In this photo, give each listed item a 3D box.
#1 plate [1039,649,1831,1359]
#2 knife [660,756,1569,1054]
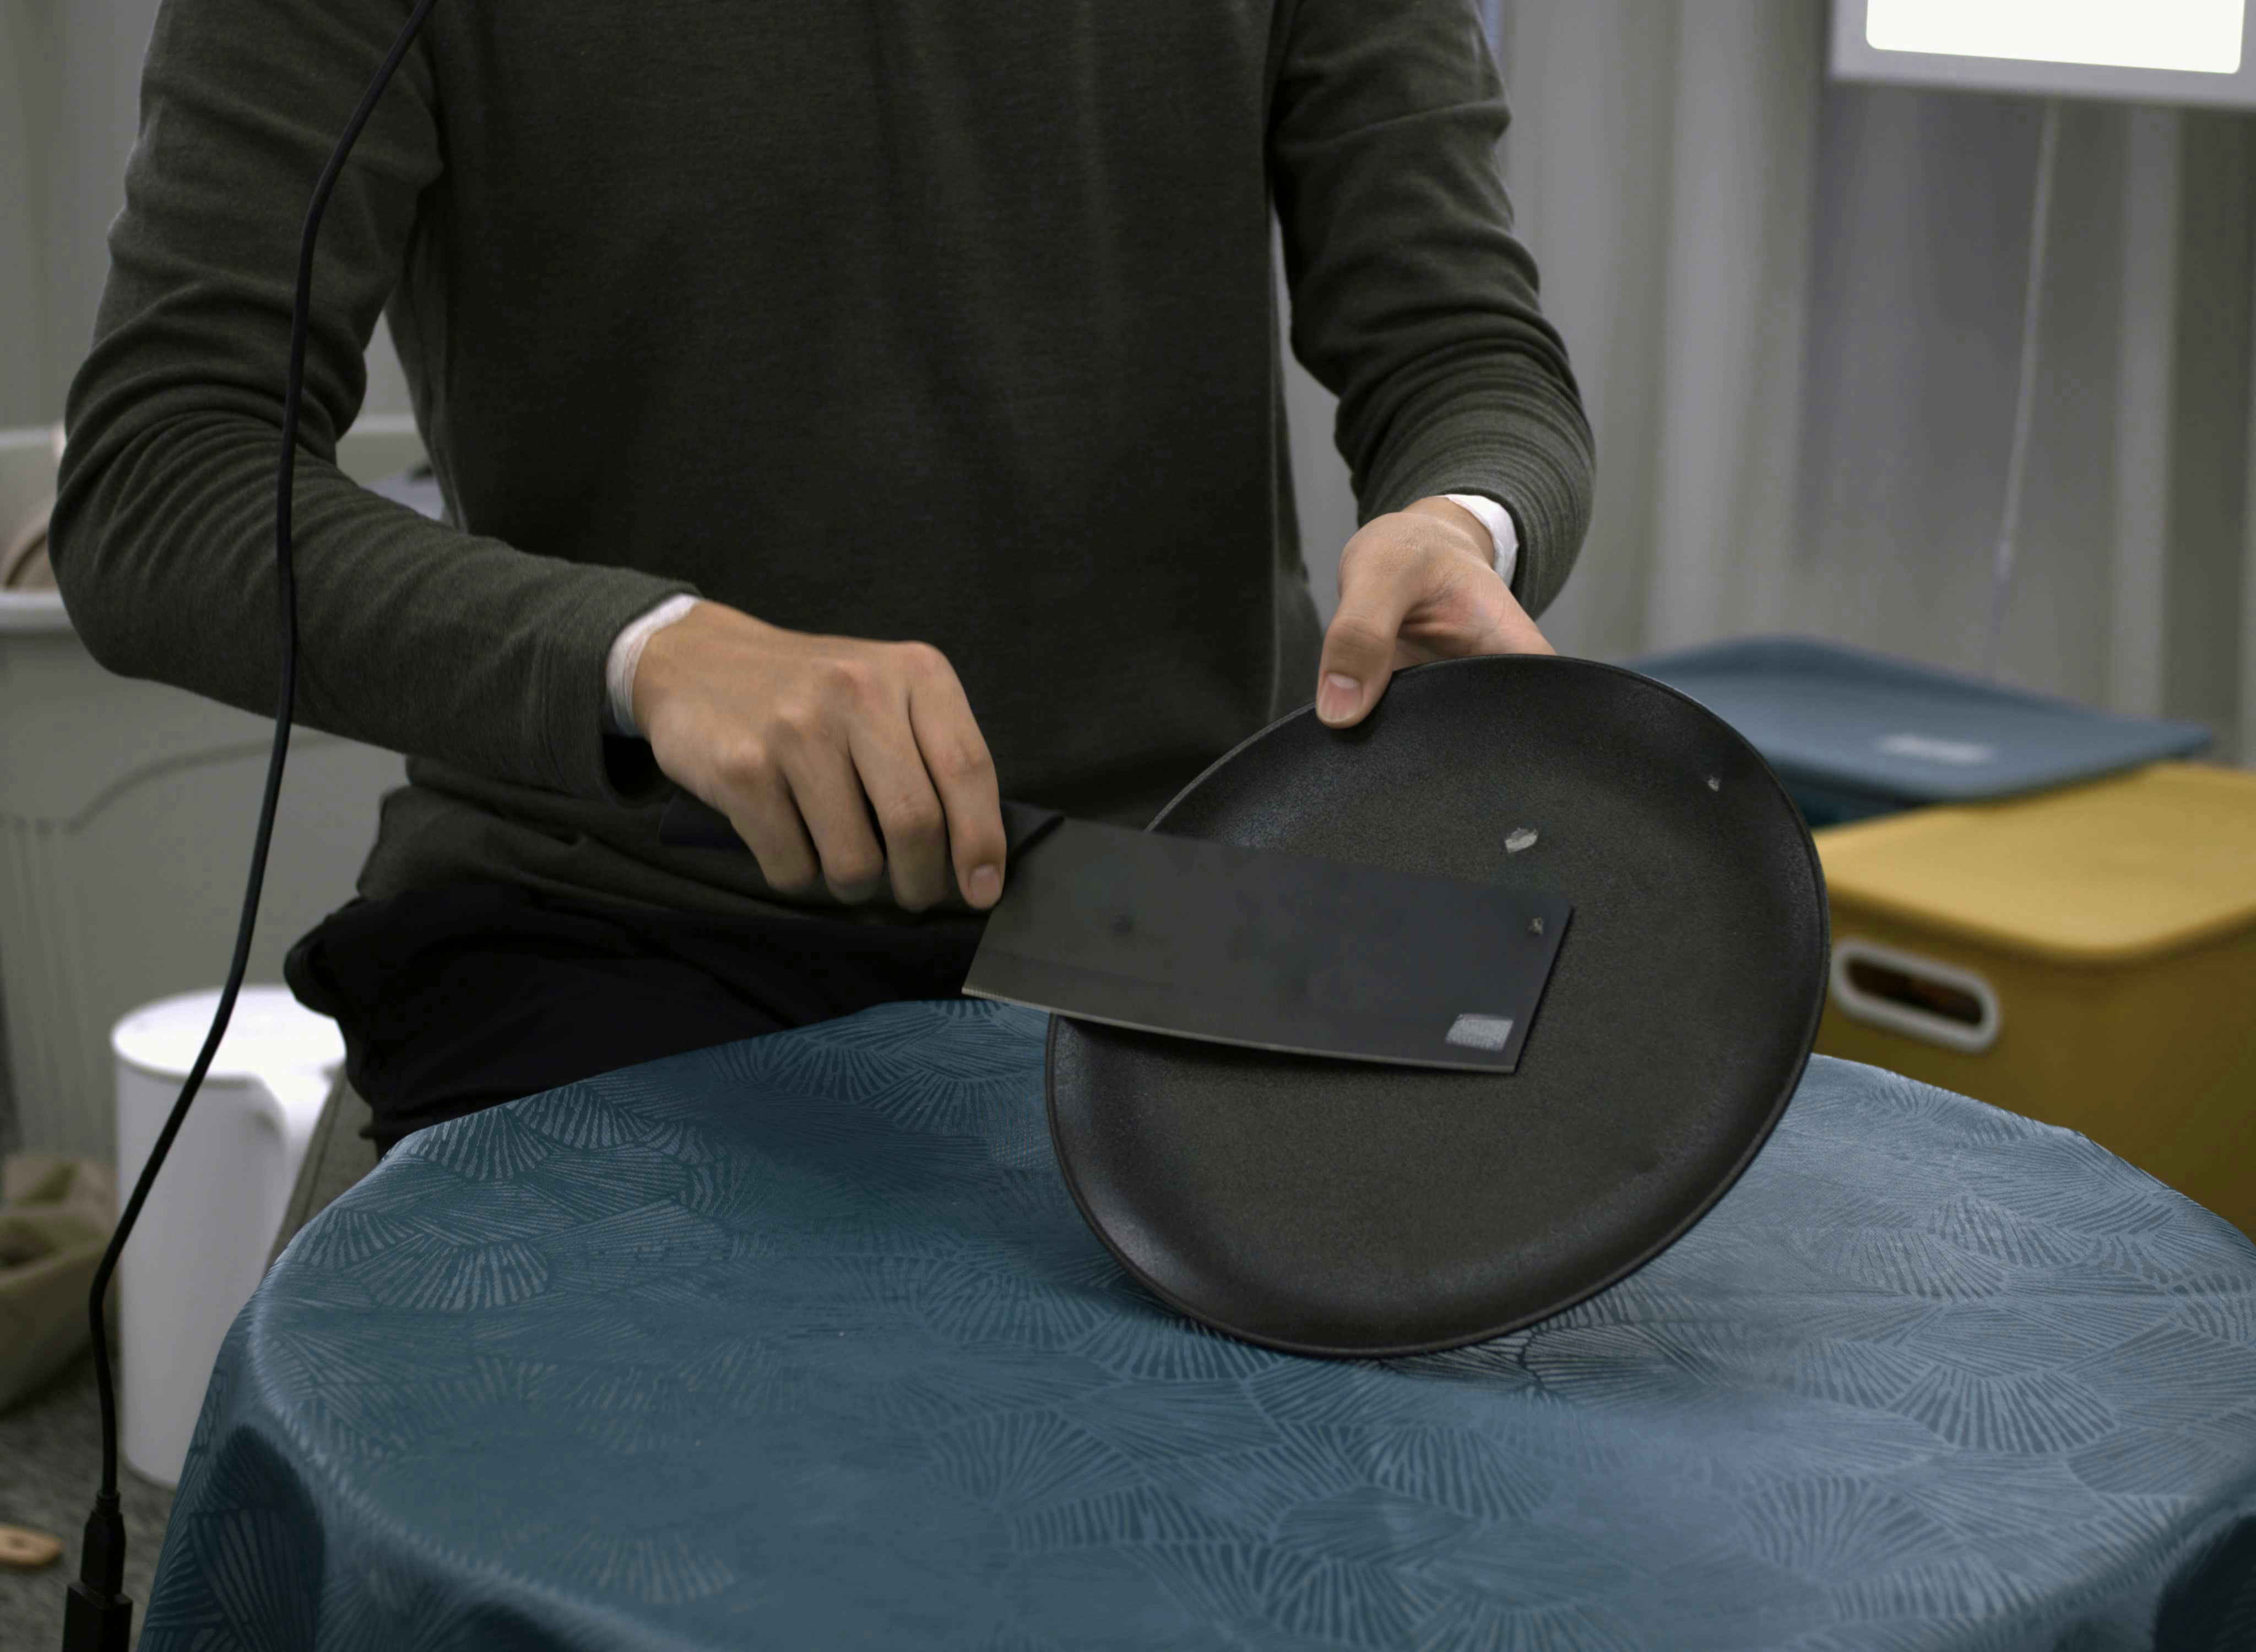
[{"bbox_3d":[0.091,0.054,1.550,0.243,0.024,0.242,-12,53,17],"label":"plate"},{"bbox_3d":[-0.011,0.021,1.604,0.299,0.021,0.081,13,63,25],"label":"knife"}]
